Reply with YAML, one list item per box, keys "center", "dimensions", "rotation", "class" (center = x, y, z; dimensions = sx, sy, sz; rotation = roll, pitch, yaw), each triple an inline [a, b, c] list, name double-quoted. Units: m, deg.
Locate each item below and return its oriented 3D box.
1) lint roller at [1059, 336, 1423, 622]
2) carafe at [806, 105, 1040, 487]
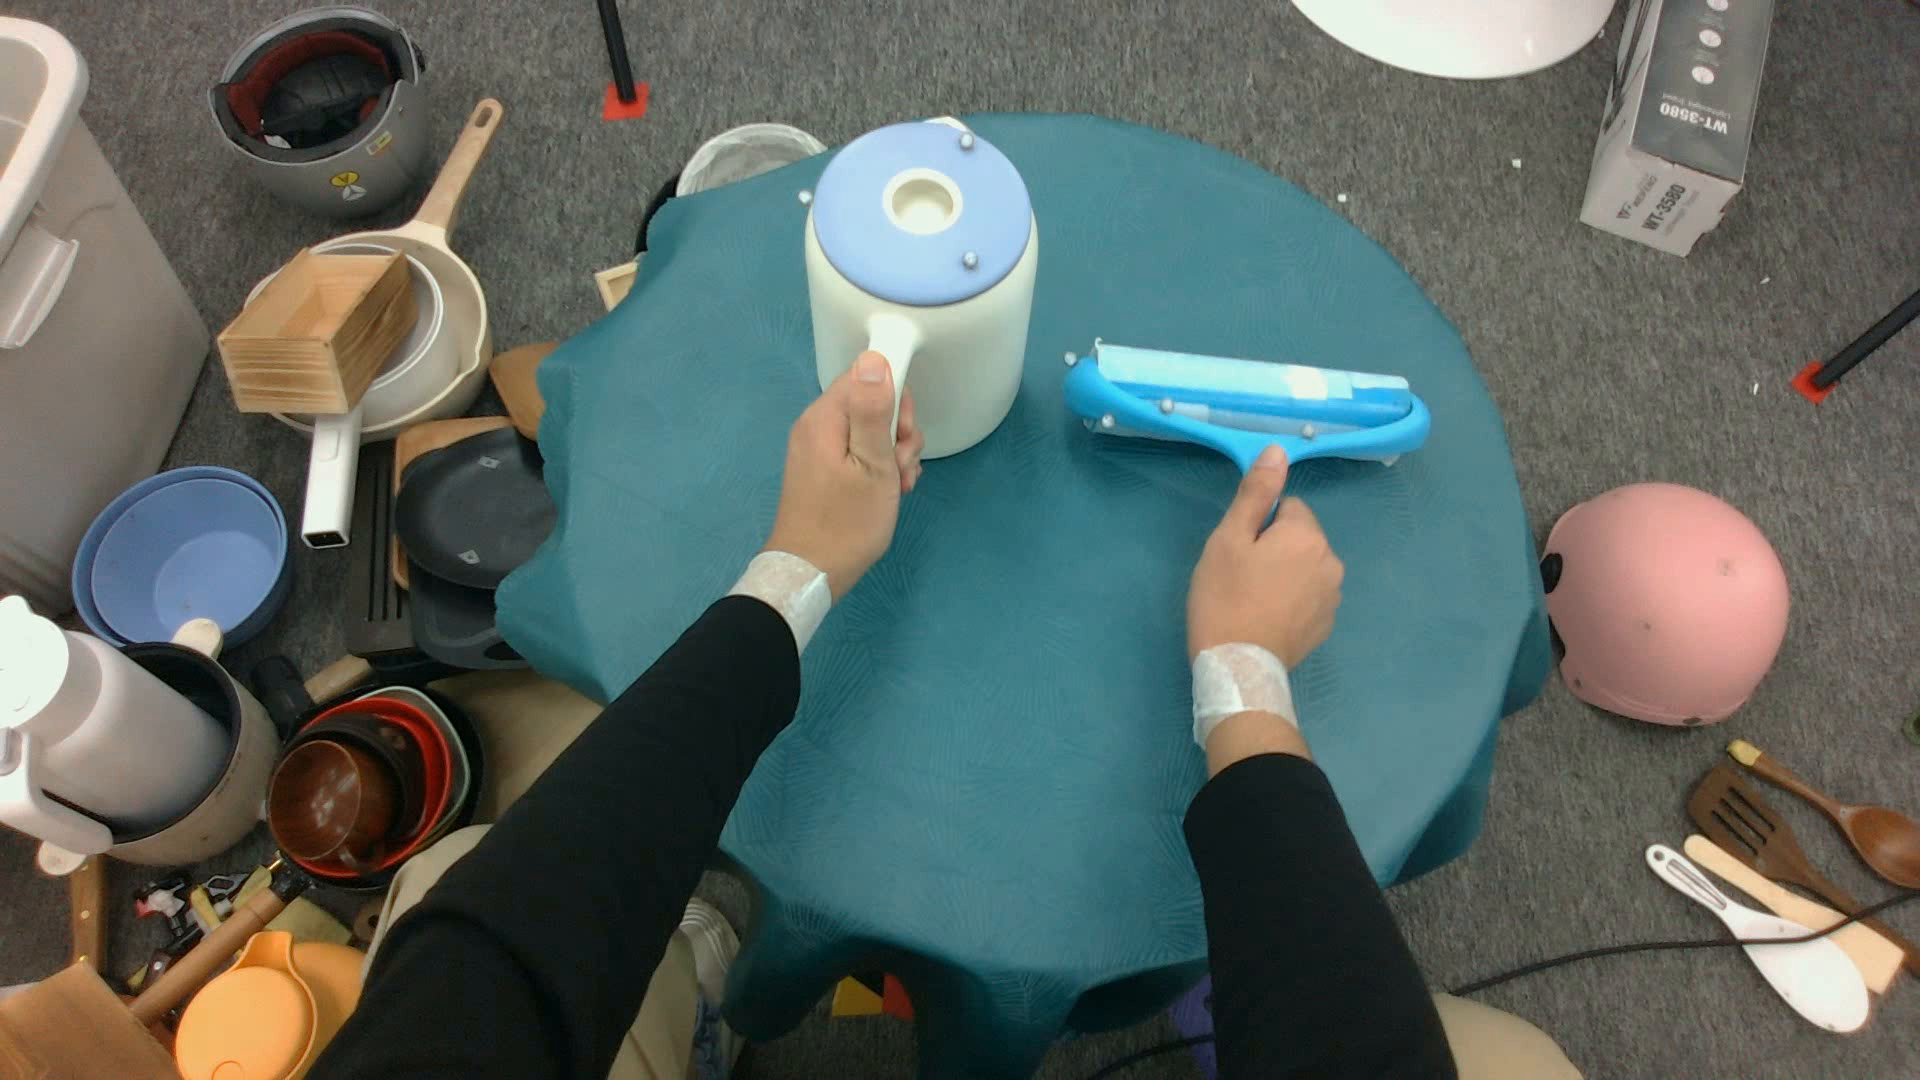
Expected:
- center: [0.174, -0.042, 0.825]
  dimensions: [0.229, 0.067, 0.181]
  rotation: [6, 52, -6]
  class: "lint roller"
- center: [-0.028, -0.127, 0.804]
  dimensions: [0.132, 0.182, 0.192]
  rotation: [11, 67, 3]
  class: "carafe"
